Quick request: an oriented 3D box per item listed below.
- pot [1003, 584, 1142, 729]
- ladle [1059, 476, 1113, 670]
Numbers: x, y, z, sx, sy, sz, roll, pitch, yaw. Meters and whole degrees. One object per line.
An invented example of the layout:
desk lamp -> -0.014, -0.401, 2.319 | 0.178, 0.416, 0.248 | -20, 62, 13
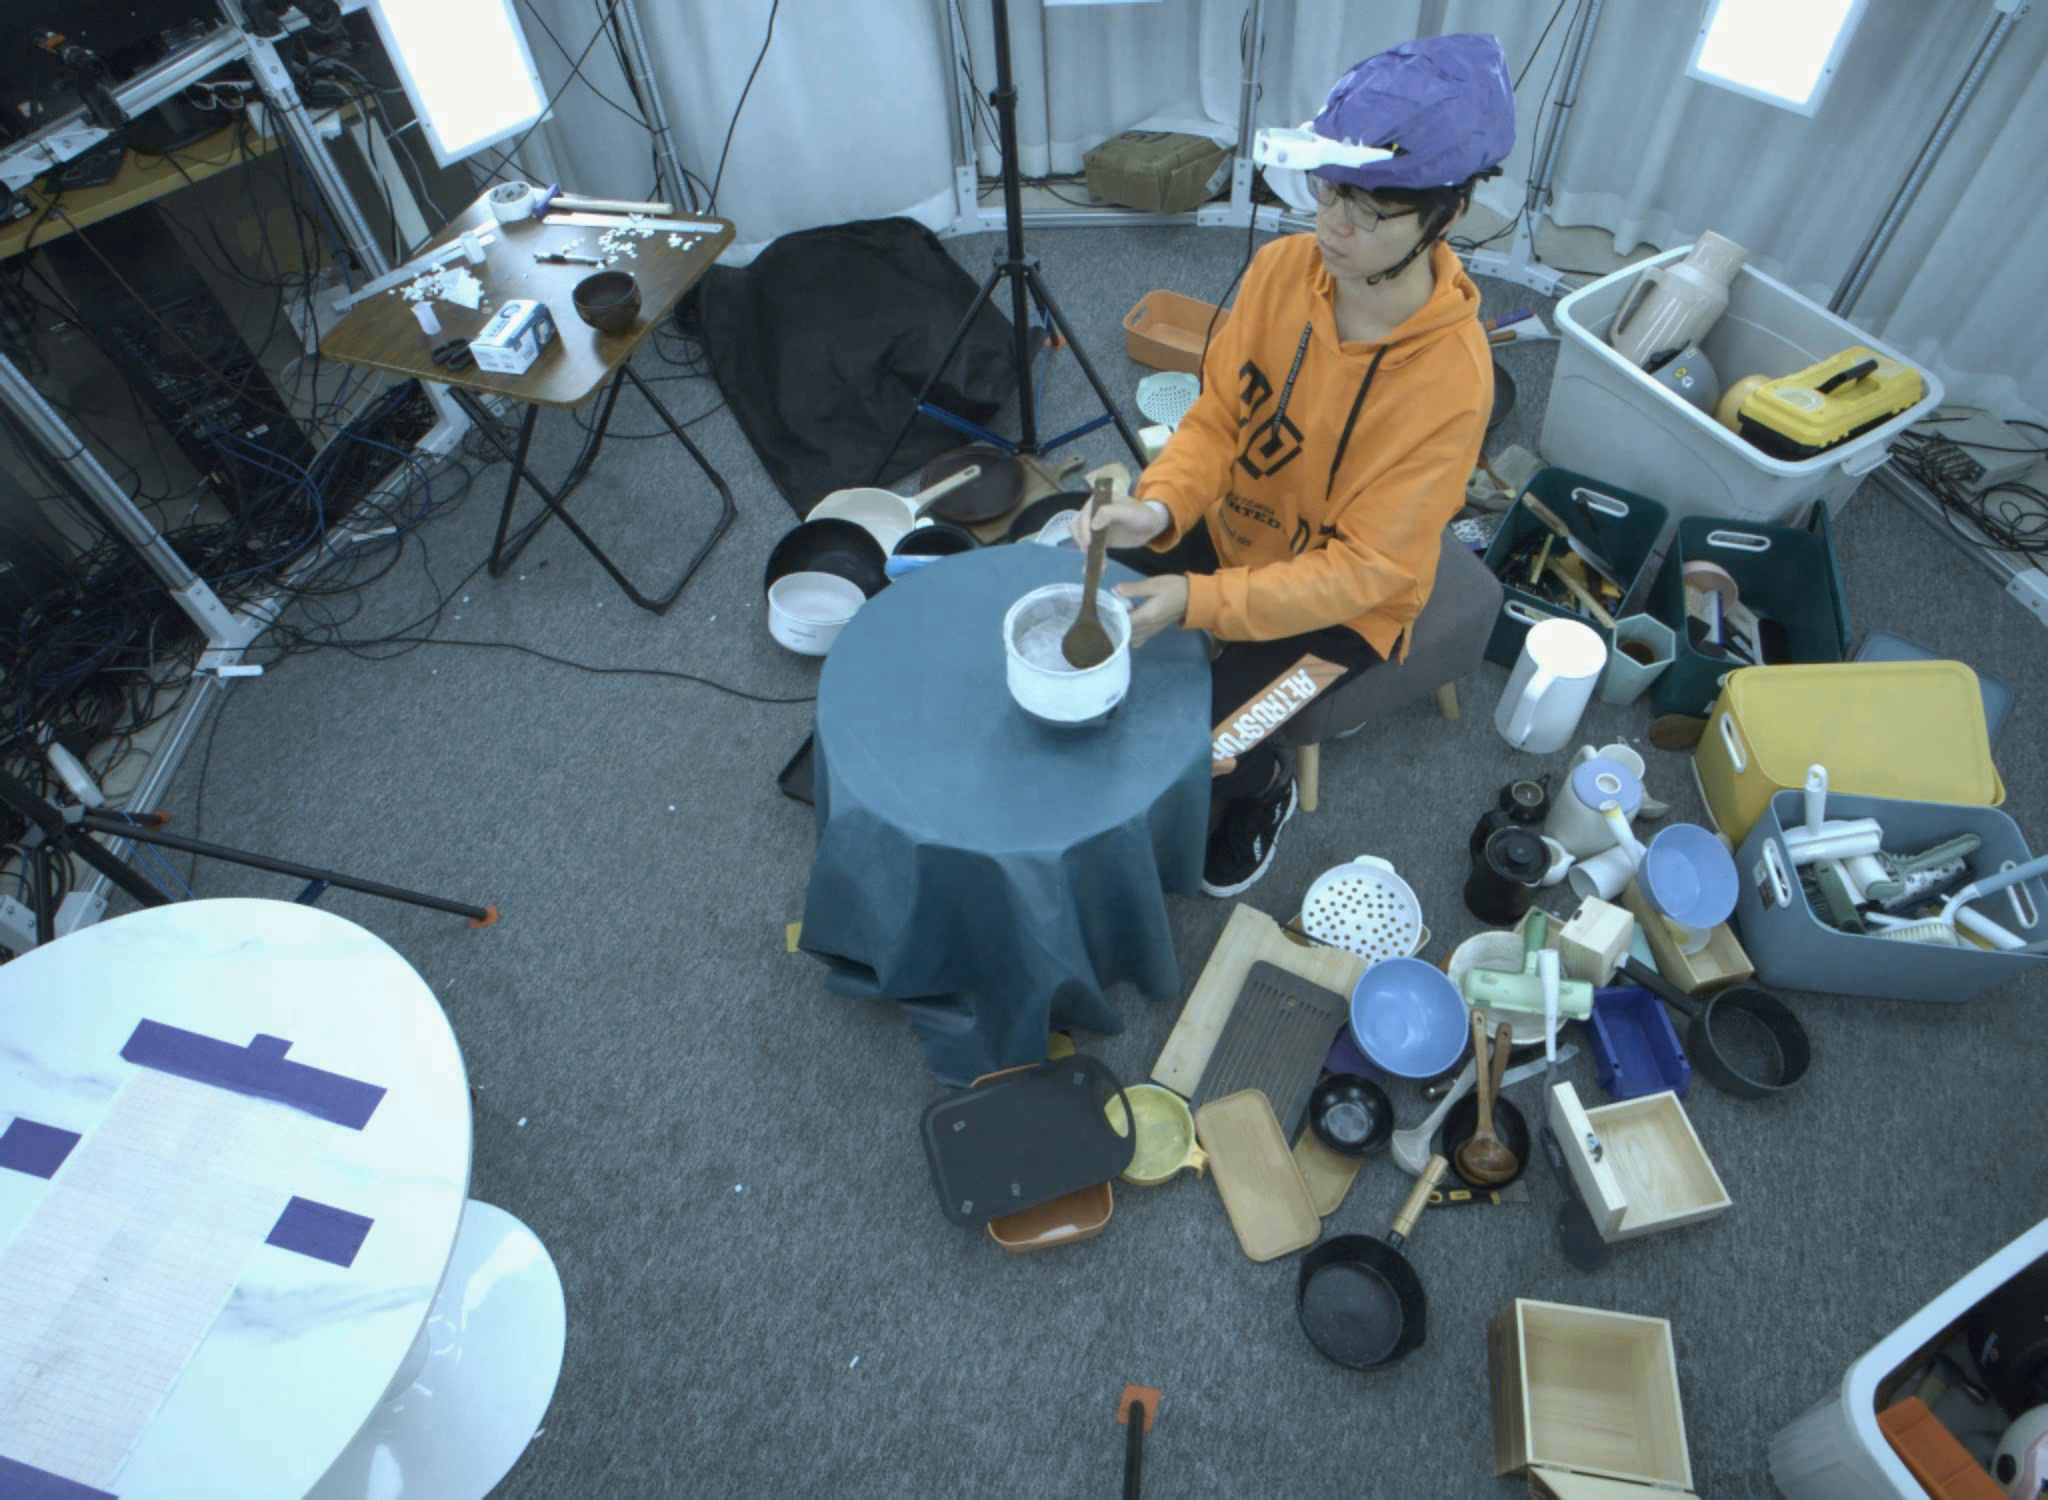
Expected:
pot -> 0.081, -0.145, 1.763 | 0.175, 0.138, 0.235 | 37, 61, 26
ladle -> 0.097, -0.246, 1.686 | 0.077, 0.070, 0.274 | 6, 94, -12
